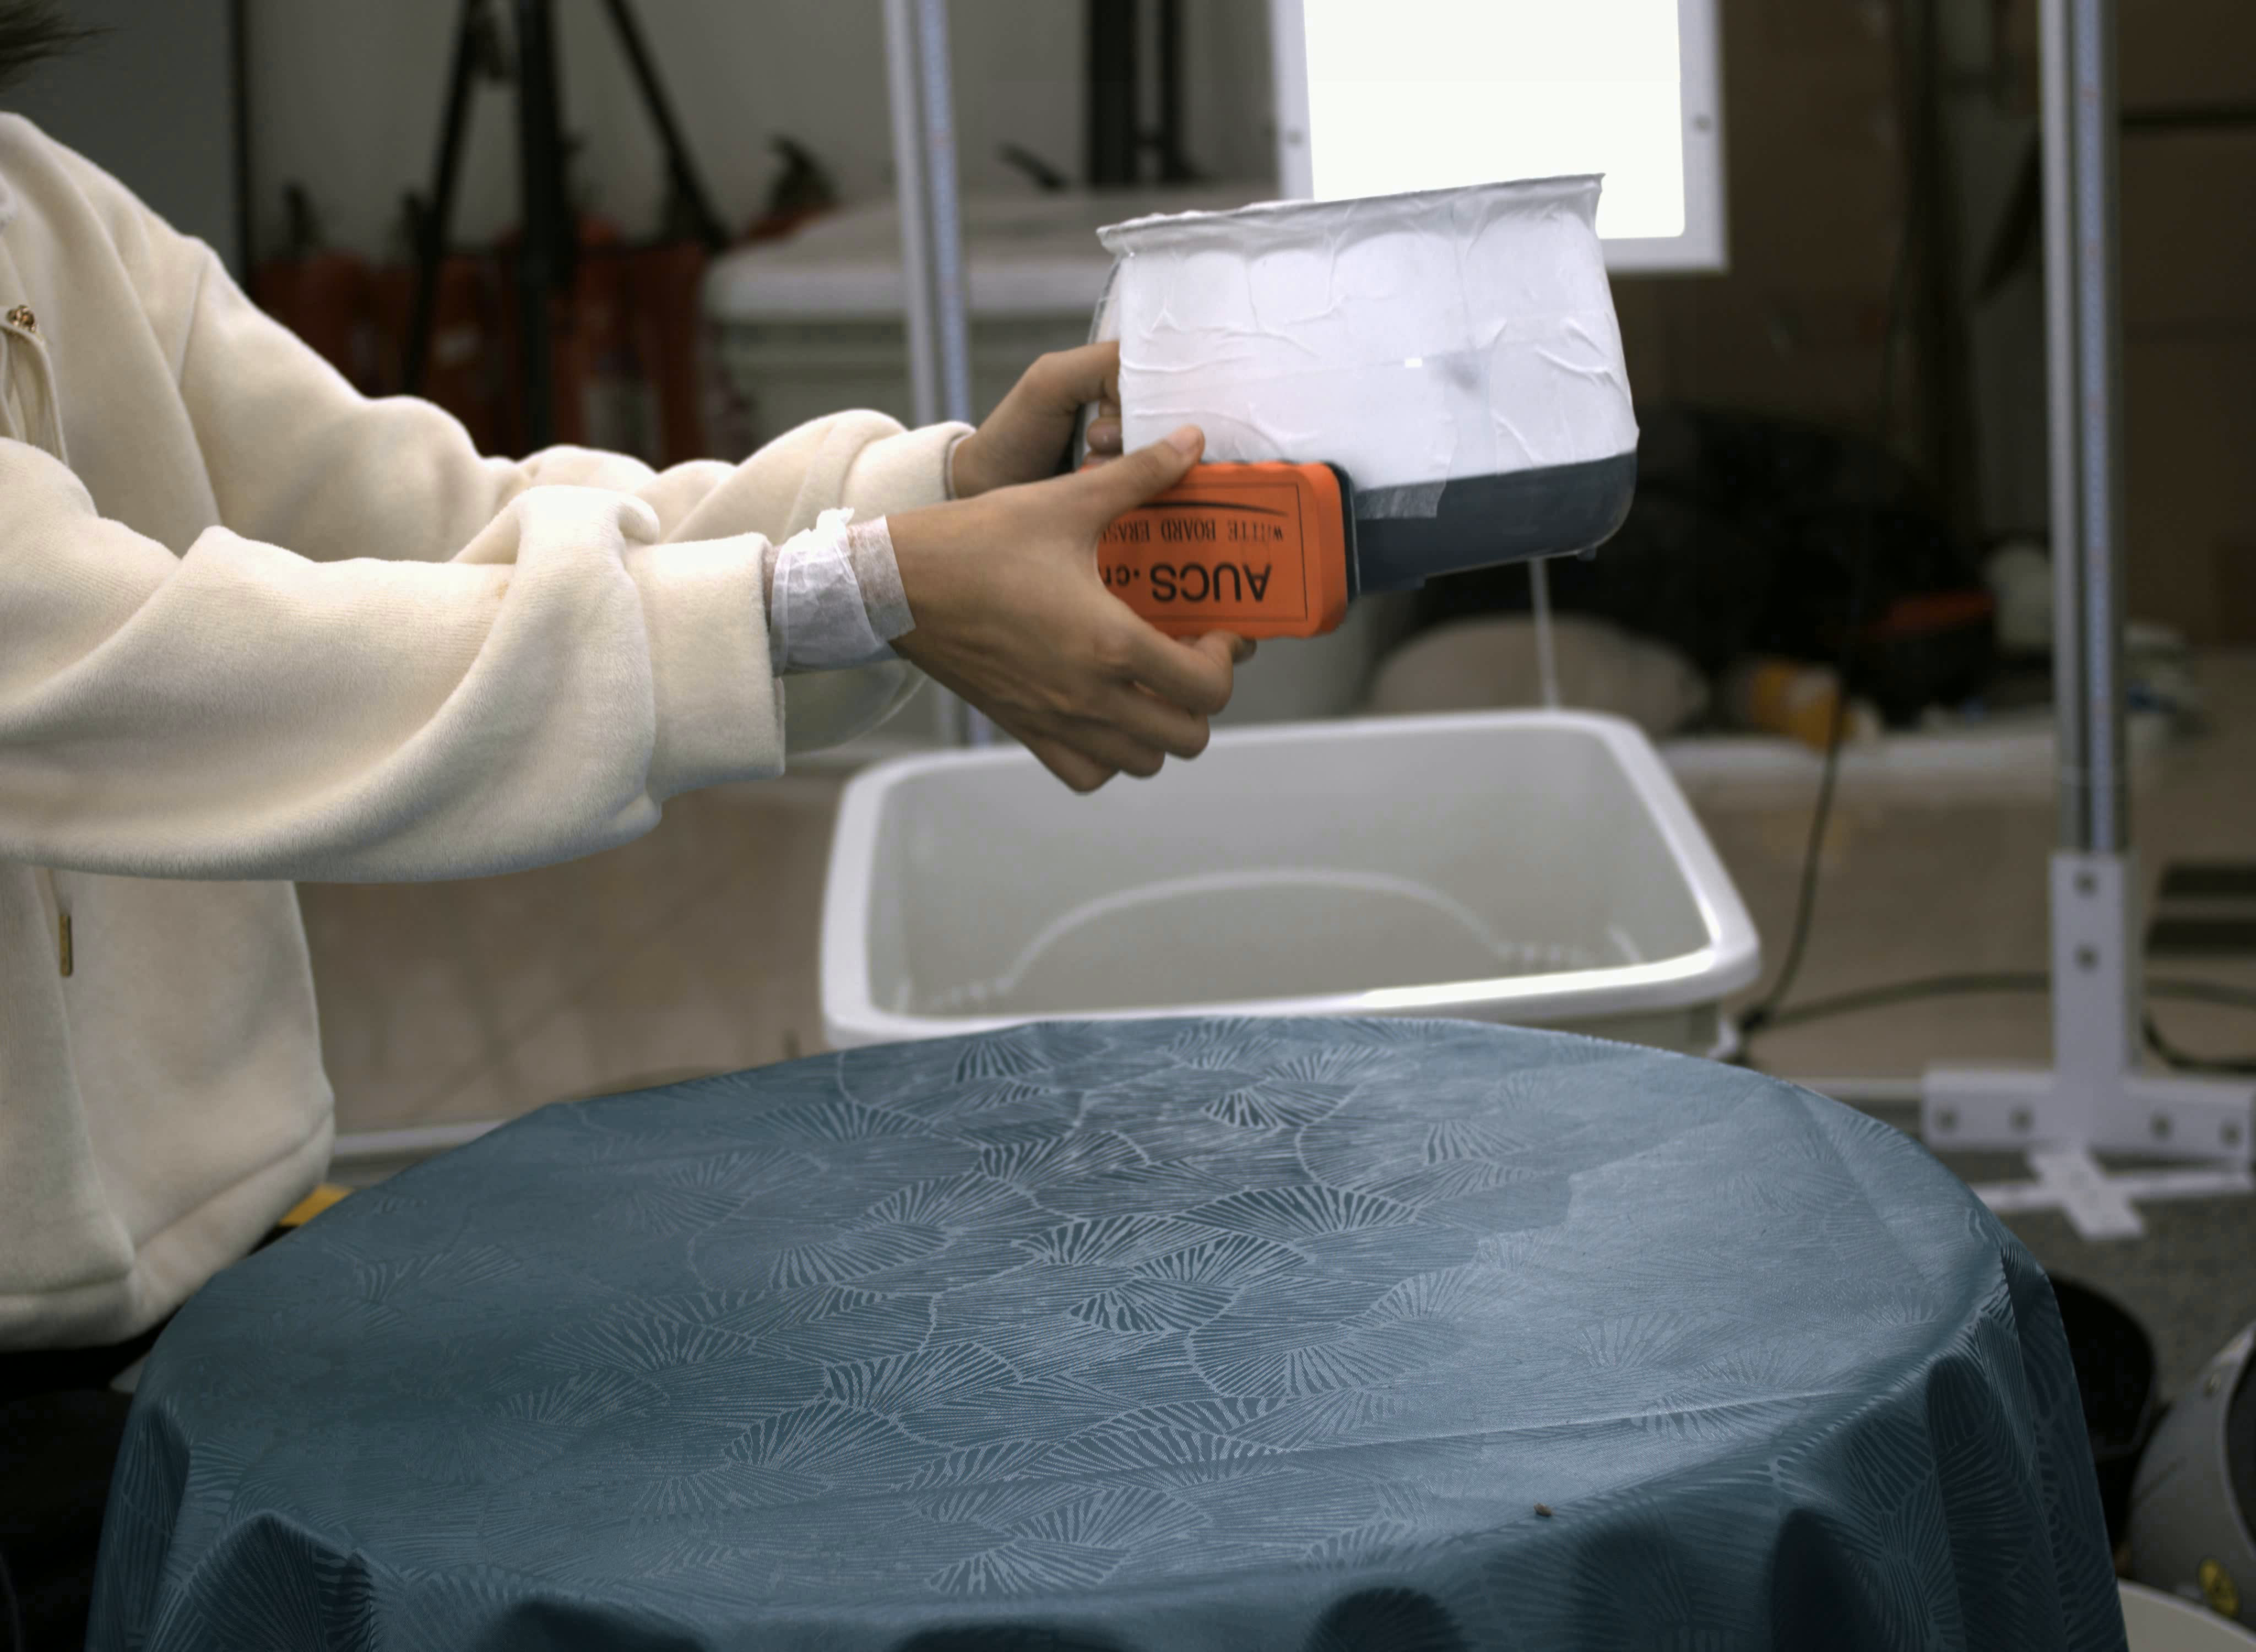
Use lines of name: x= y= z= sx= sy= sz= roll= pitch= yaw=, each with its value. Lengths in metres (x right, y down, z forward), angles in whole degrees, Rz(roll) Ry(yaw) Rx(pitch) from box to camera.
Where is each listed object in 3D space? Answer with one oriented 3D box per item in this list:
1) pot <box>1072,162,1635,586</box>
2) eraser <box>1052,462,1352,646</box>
pot: x=0.064 y=-0.155 z=1.908 sx=0.174 sy=0.137 sz=0.239 roll=-11 pitch=8 yaw=-42
eraser: x=0.024 y=-0.090 z=1.815 sx=0.110 sy=0.059 sz=0.022 roll=2 pitch=11 yaw=41
